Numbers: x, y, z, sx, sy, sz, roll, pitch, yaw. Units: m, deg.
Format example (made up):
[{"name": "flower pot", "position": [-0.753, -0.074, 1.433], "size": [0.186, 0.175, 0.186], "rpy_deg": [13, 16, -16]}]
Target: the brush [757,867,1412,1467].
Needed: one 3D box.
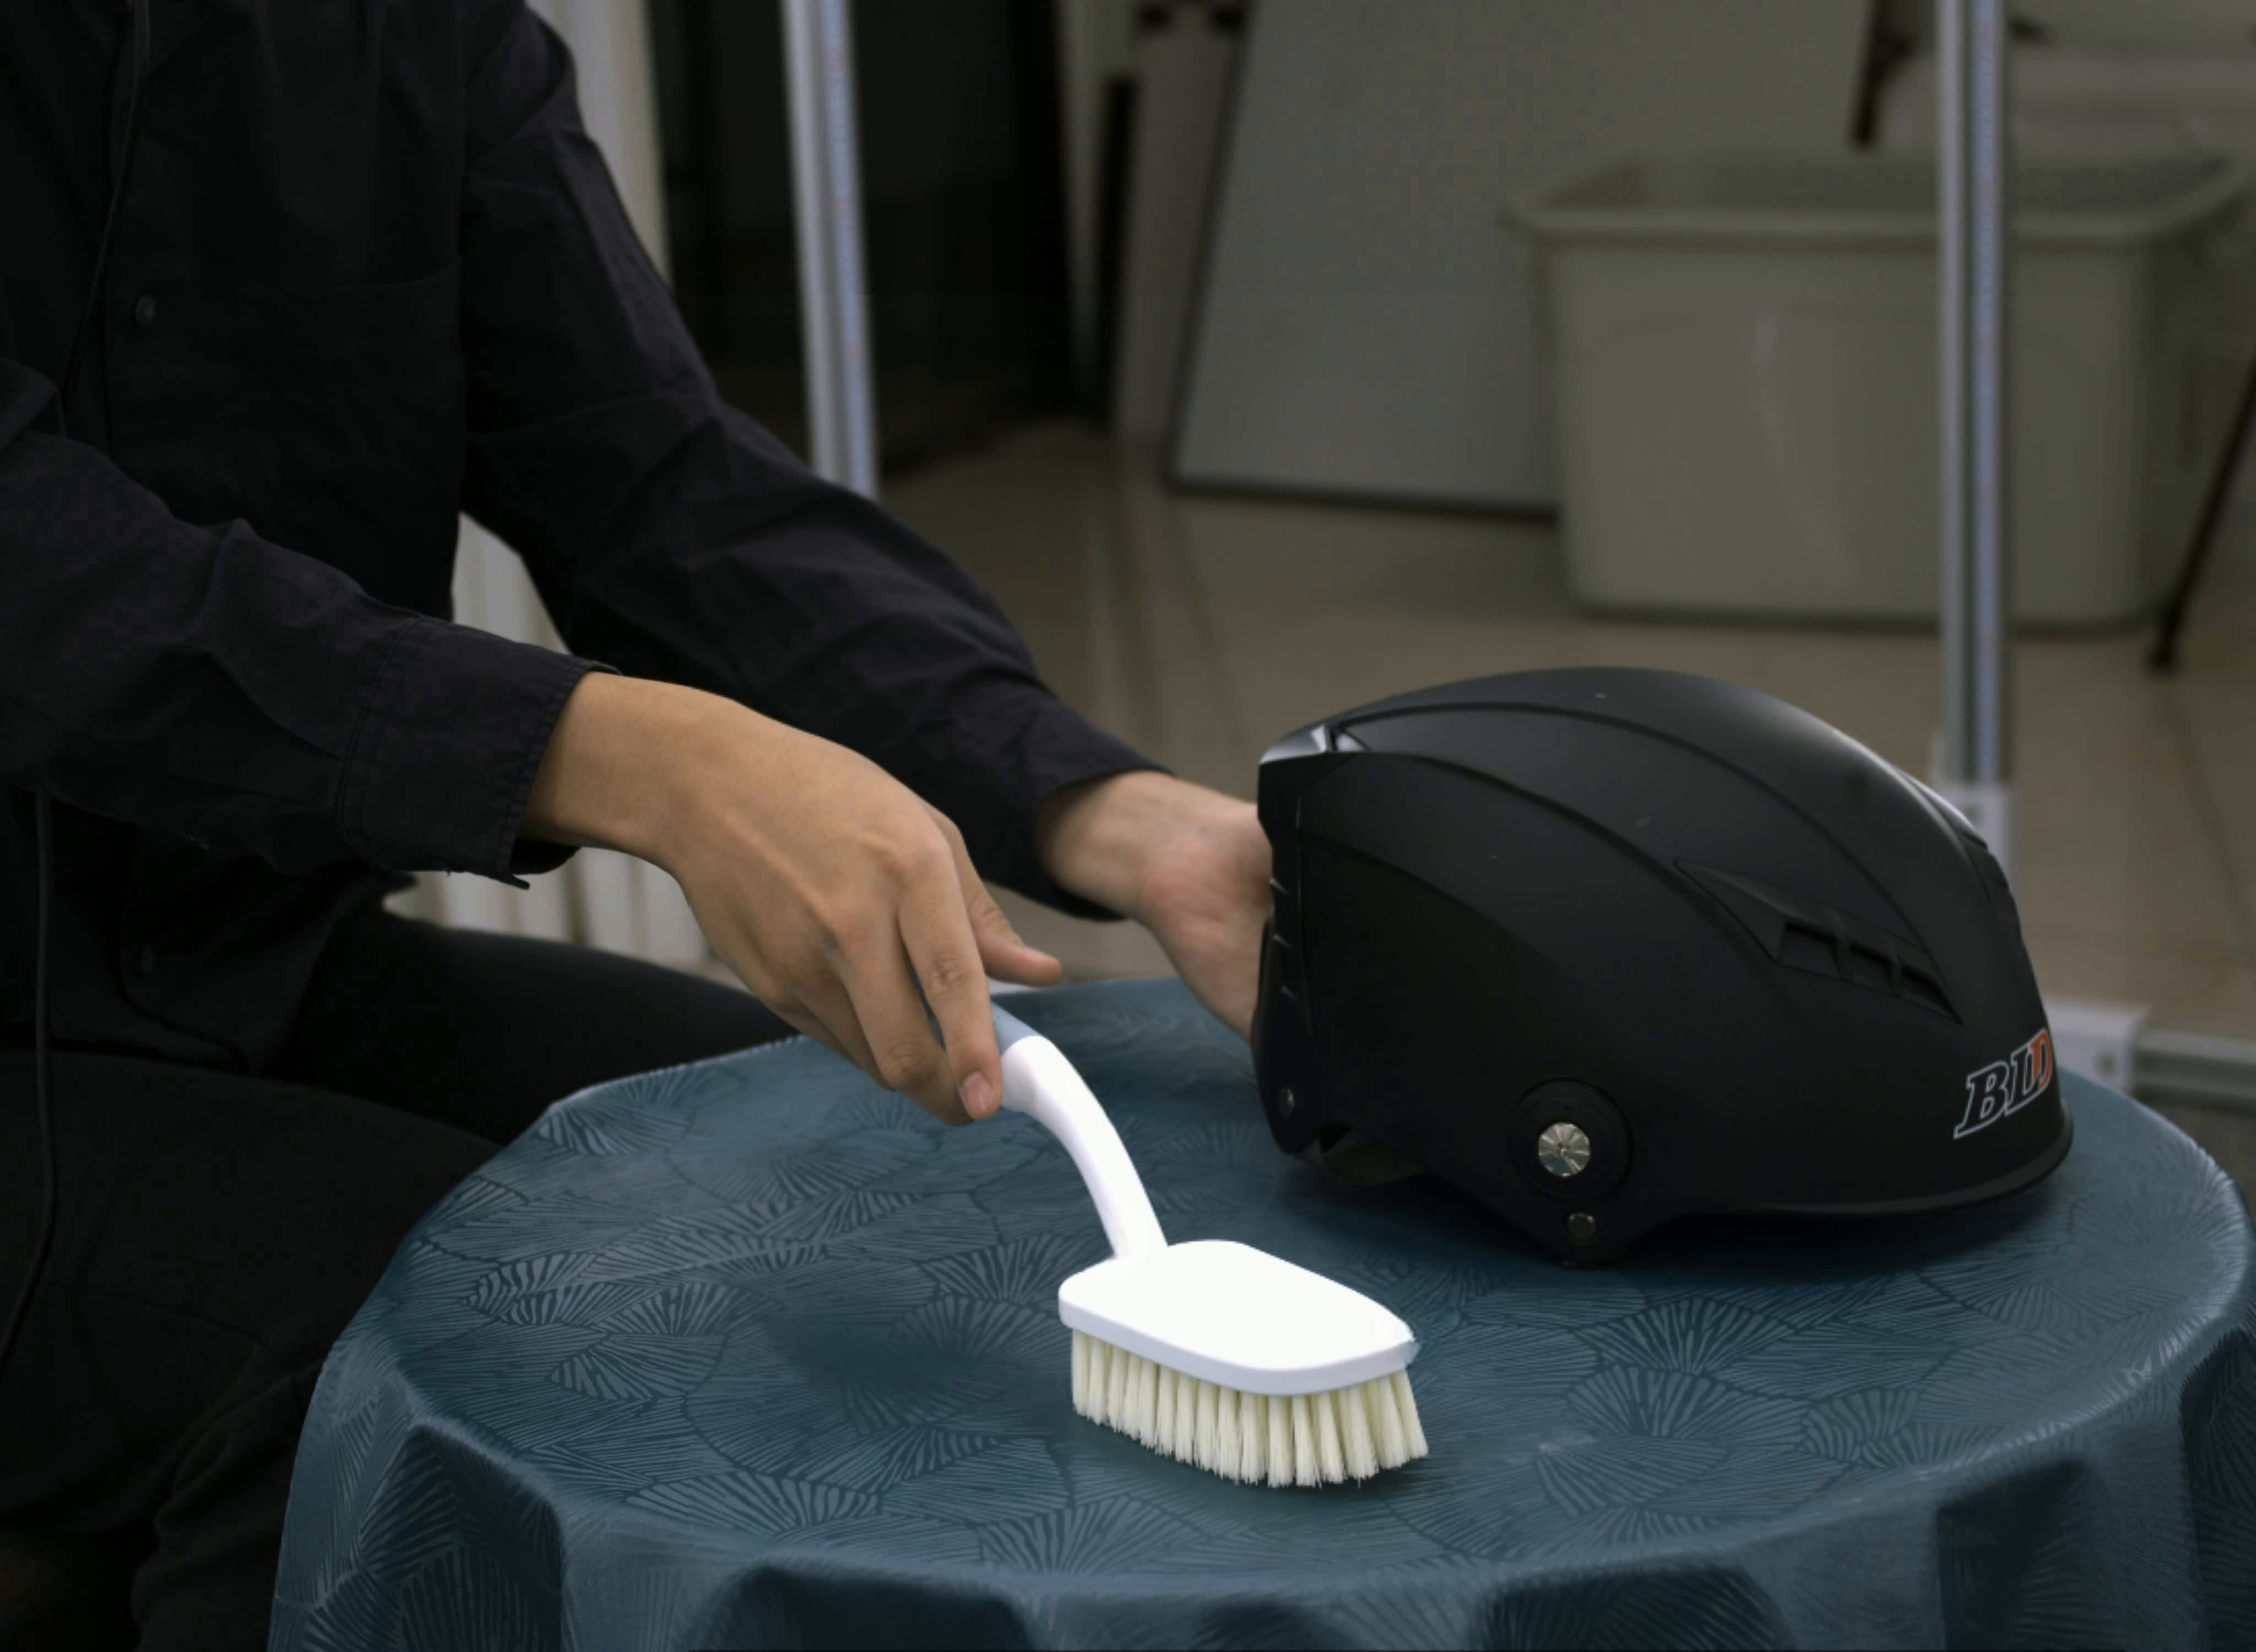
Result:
[{"name": "brush", "position": [-0.019, 0.114, 1.622], "size": [0.081, 0.085, 0.329], "rpy_deg": [33, 1, -43]}]

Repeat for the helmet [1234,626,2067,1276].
[{"name": "helmet", "position": [0.168, 0.028, 1.748], "size": [0.278, 0.174, 0.242], "rpy_deg": [13, 21, 33]}]
